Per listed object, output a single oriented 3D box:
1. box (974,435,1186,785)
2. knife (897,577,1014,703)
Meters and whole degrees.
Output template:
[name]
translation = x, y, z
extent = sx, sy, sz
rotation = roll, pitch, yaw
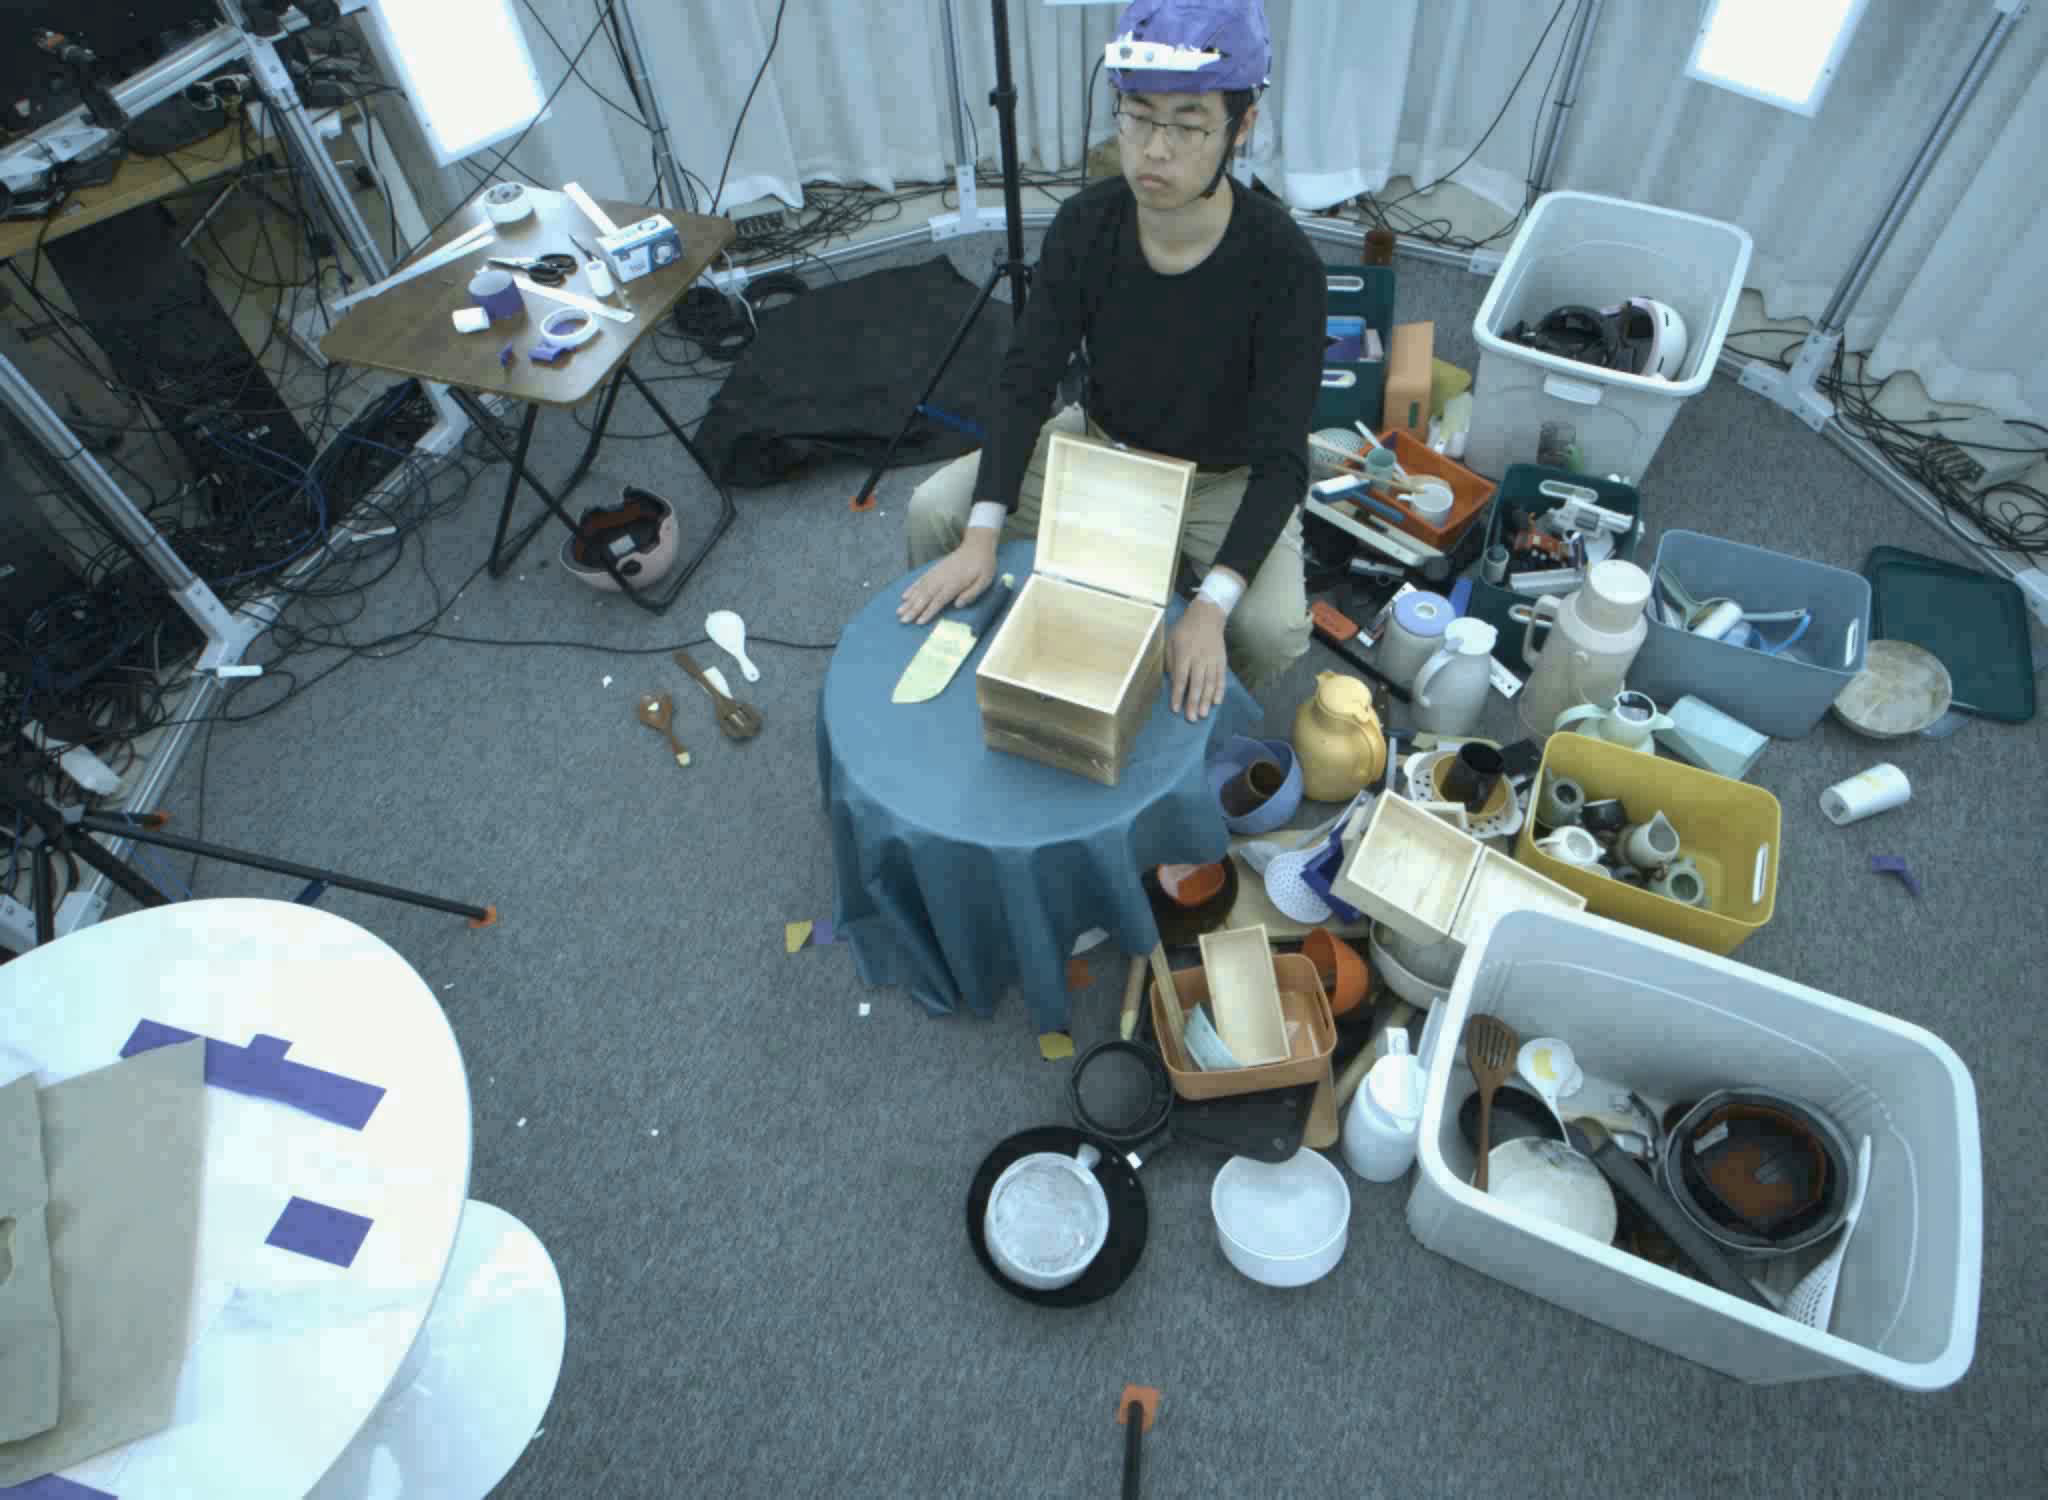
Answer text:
[box]
translation = 0.081, -0.196, 1.702
extent = 0.206, 0.380, 0.322
rotation = 16, 56, 16
[knife]
translation = -0.105, -0.174, 1.906
extent = 0.080, 0.027, 0.290
rotation = 27, 61, 17
